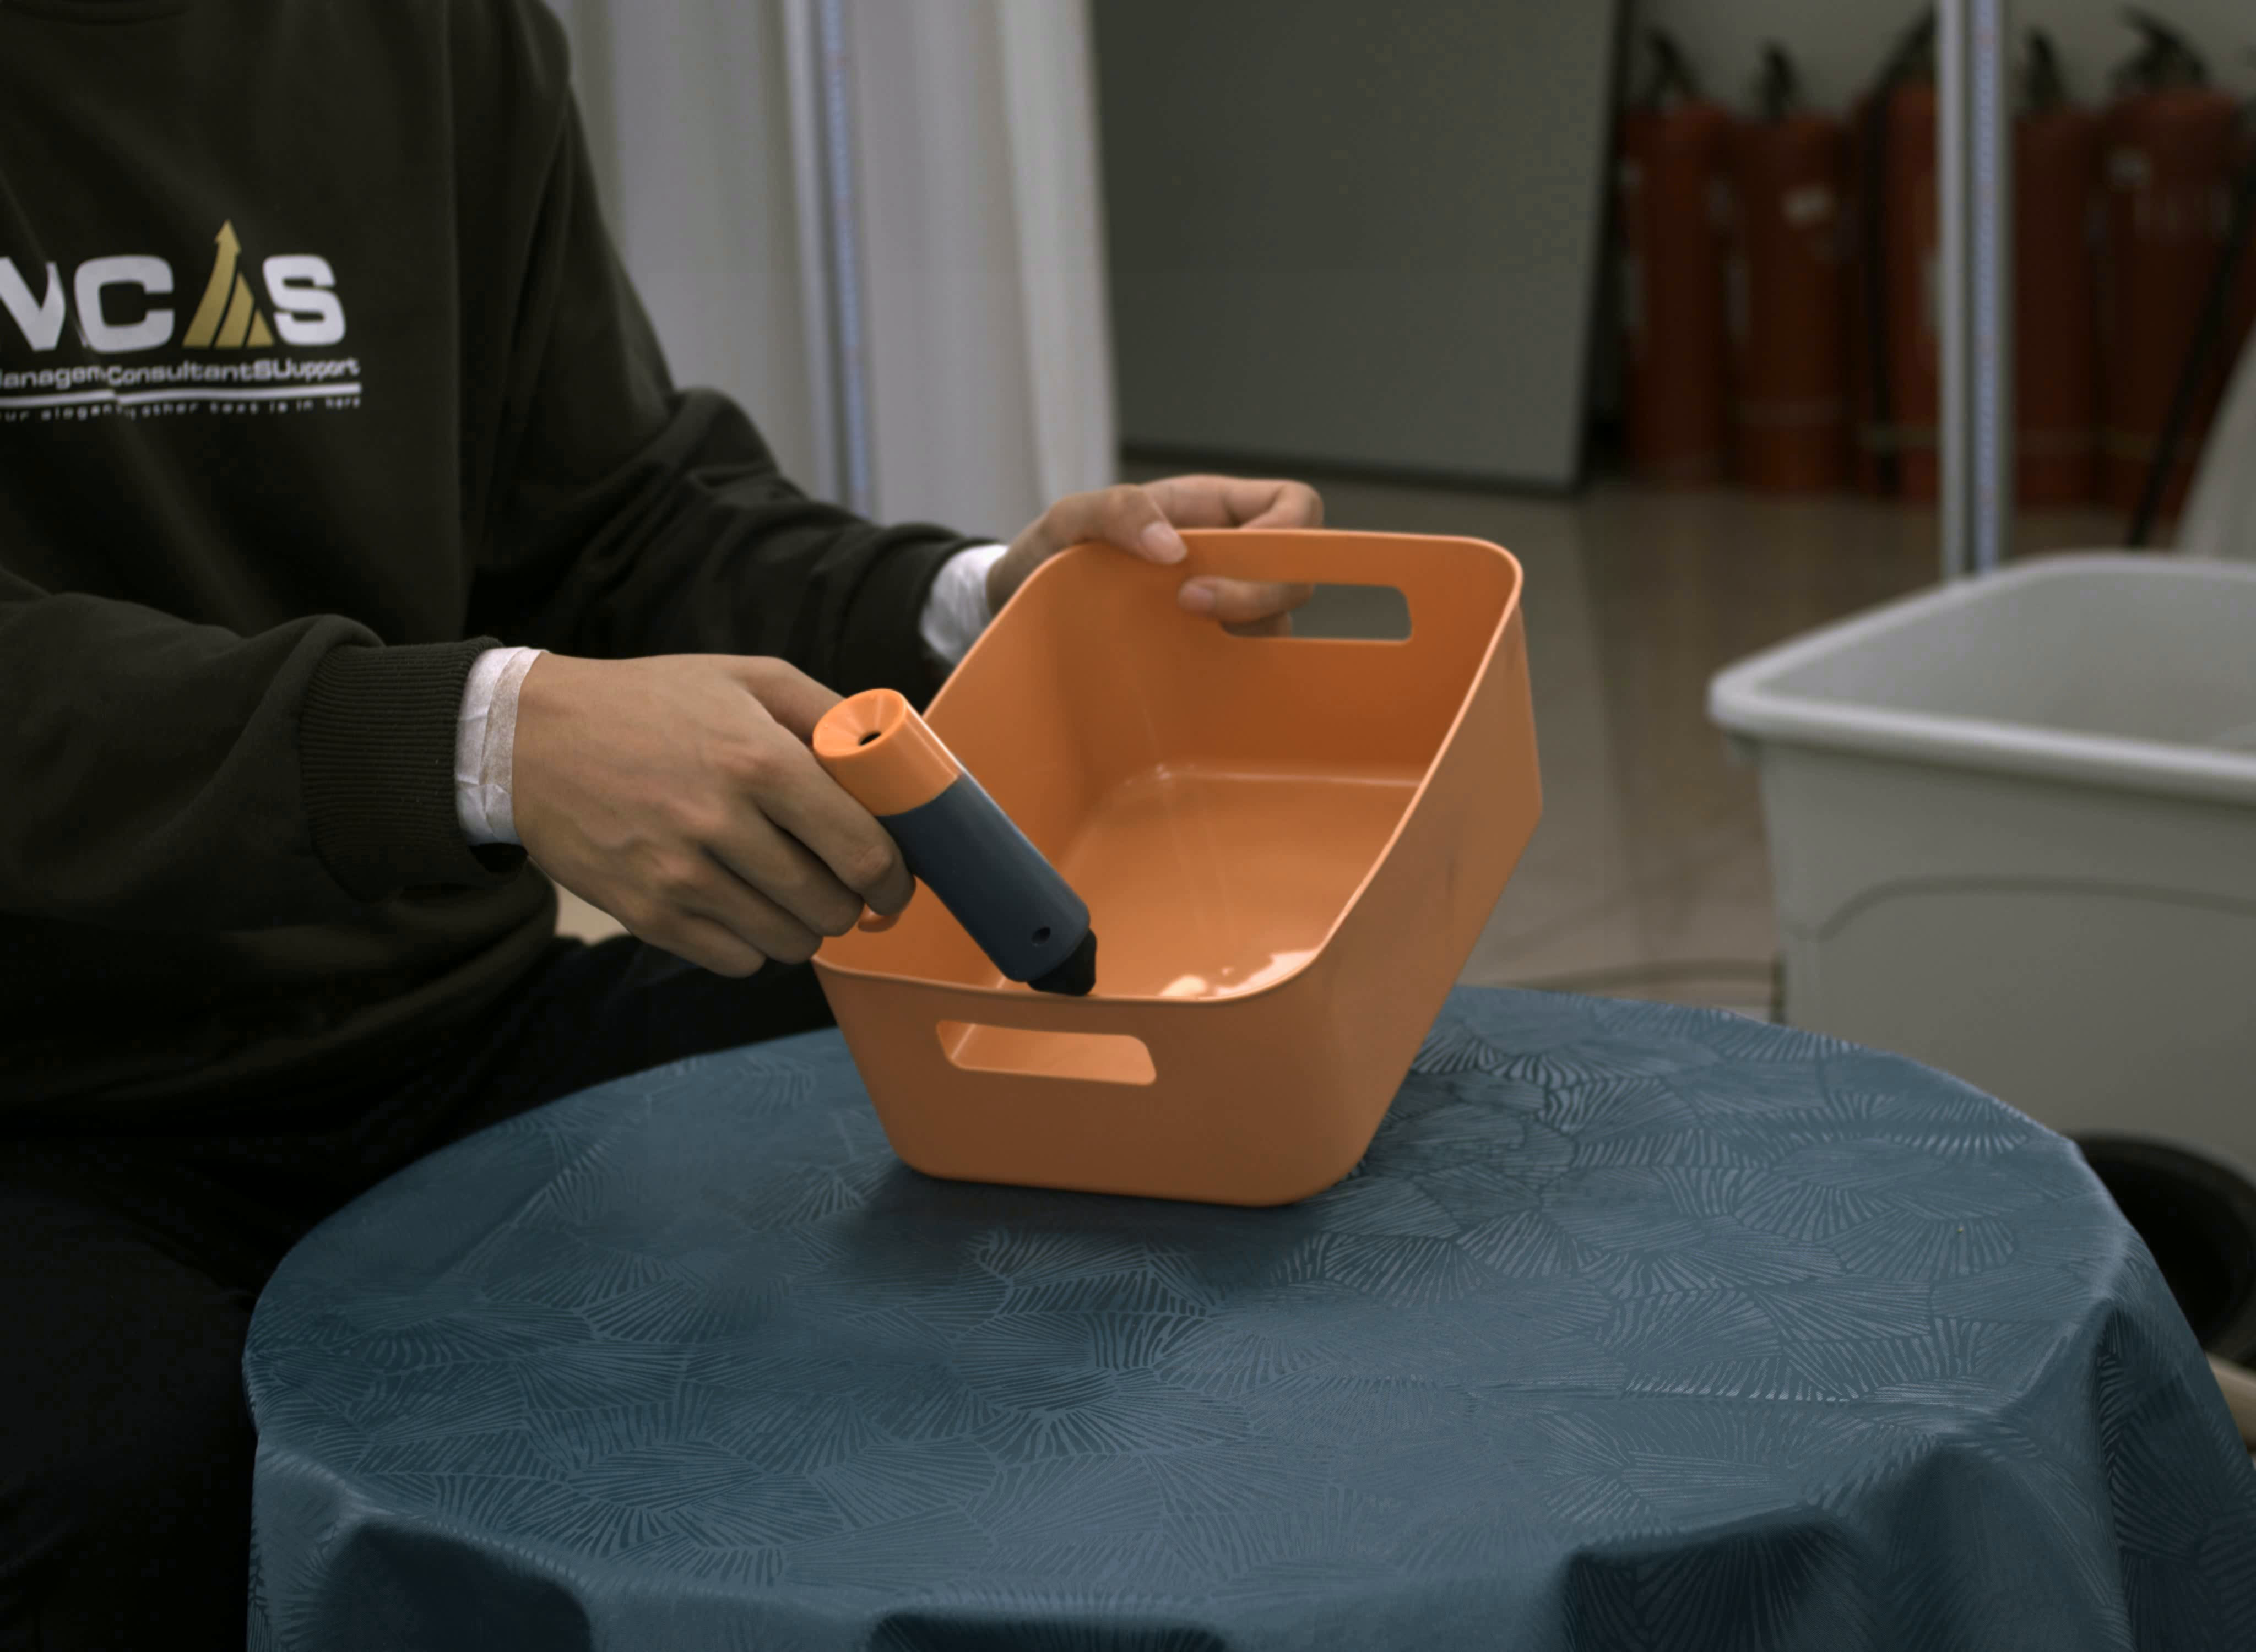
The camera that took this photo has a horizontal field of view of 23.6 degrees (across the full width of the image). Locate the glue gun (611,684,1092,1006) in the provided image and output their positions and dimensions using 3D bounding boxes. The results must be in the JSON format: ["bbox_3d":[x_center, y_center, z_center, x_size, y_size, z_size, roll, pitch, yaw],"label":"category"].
[{"bbox_3d":[-0.086,0.013,1.705,0.140,0.118,0.041,-3,37,31],"label":"glue gun"}]

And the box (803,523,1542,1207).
[{"bbox_3d":[0.023,0.014,1.840,0.200,0.103,0.272,1,37,25],"label":"box"}]
